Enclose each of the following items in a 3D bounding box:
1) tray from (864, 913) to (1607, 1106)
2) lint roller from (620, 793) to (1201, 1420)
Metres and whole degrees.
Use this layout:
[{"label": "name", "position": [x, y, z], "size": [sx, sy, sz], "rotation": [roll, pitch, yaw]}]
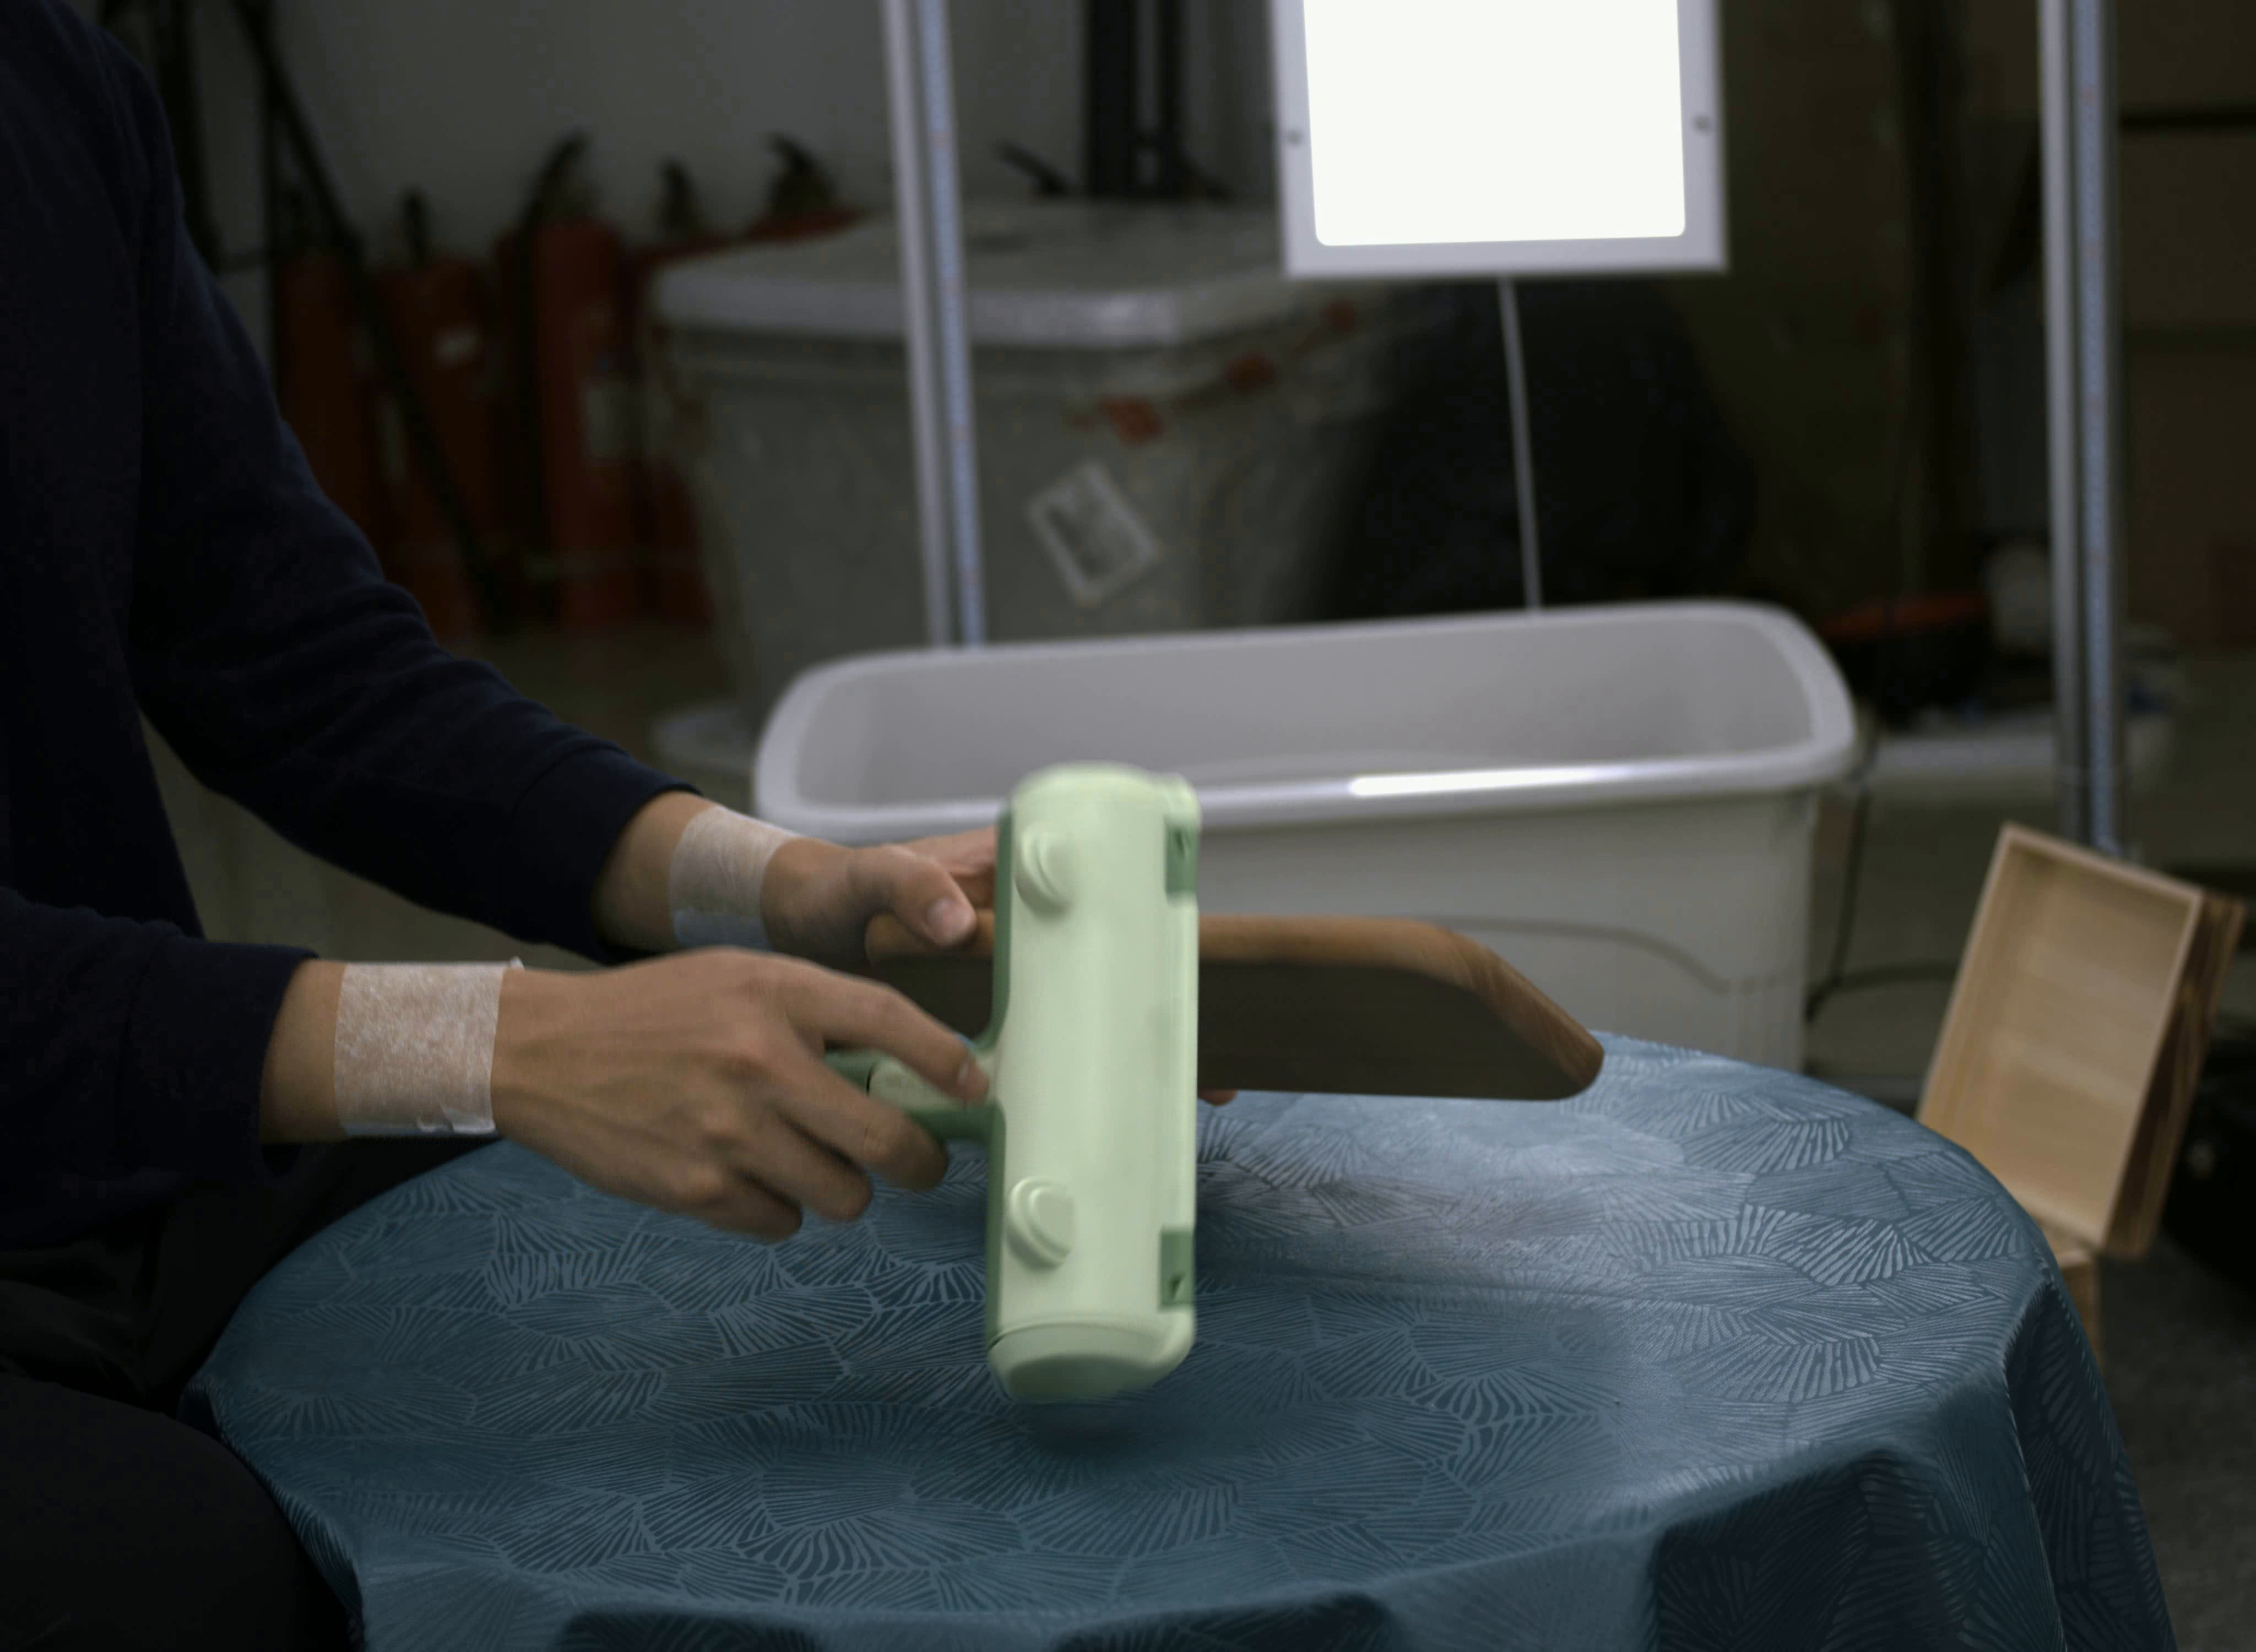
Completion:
[{"label": "tray", "position": [0.033, 0.063, 1.856], "size": [0.256, 0.023, 0.128], "rotation": [0, -27, 37]}, {"label": "lint roller", "position": [-0.071, 0.081, 1.689], "size": [0.184, 0.198, 0.082], "rotation": [-1, -30, 8]}]
